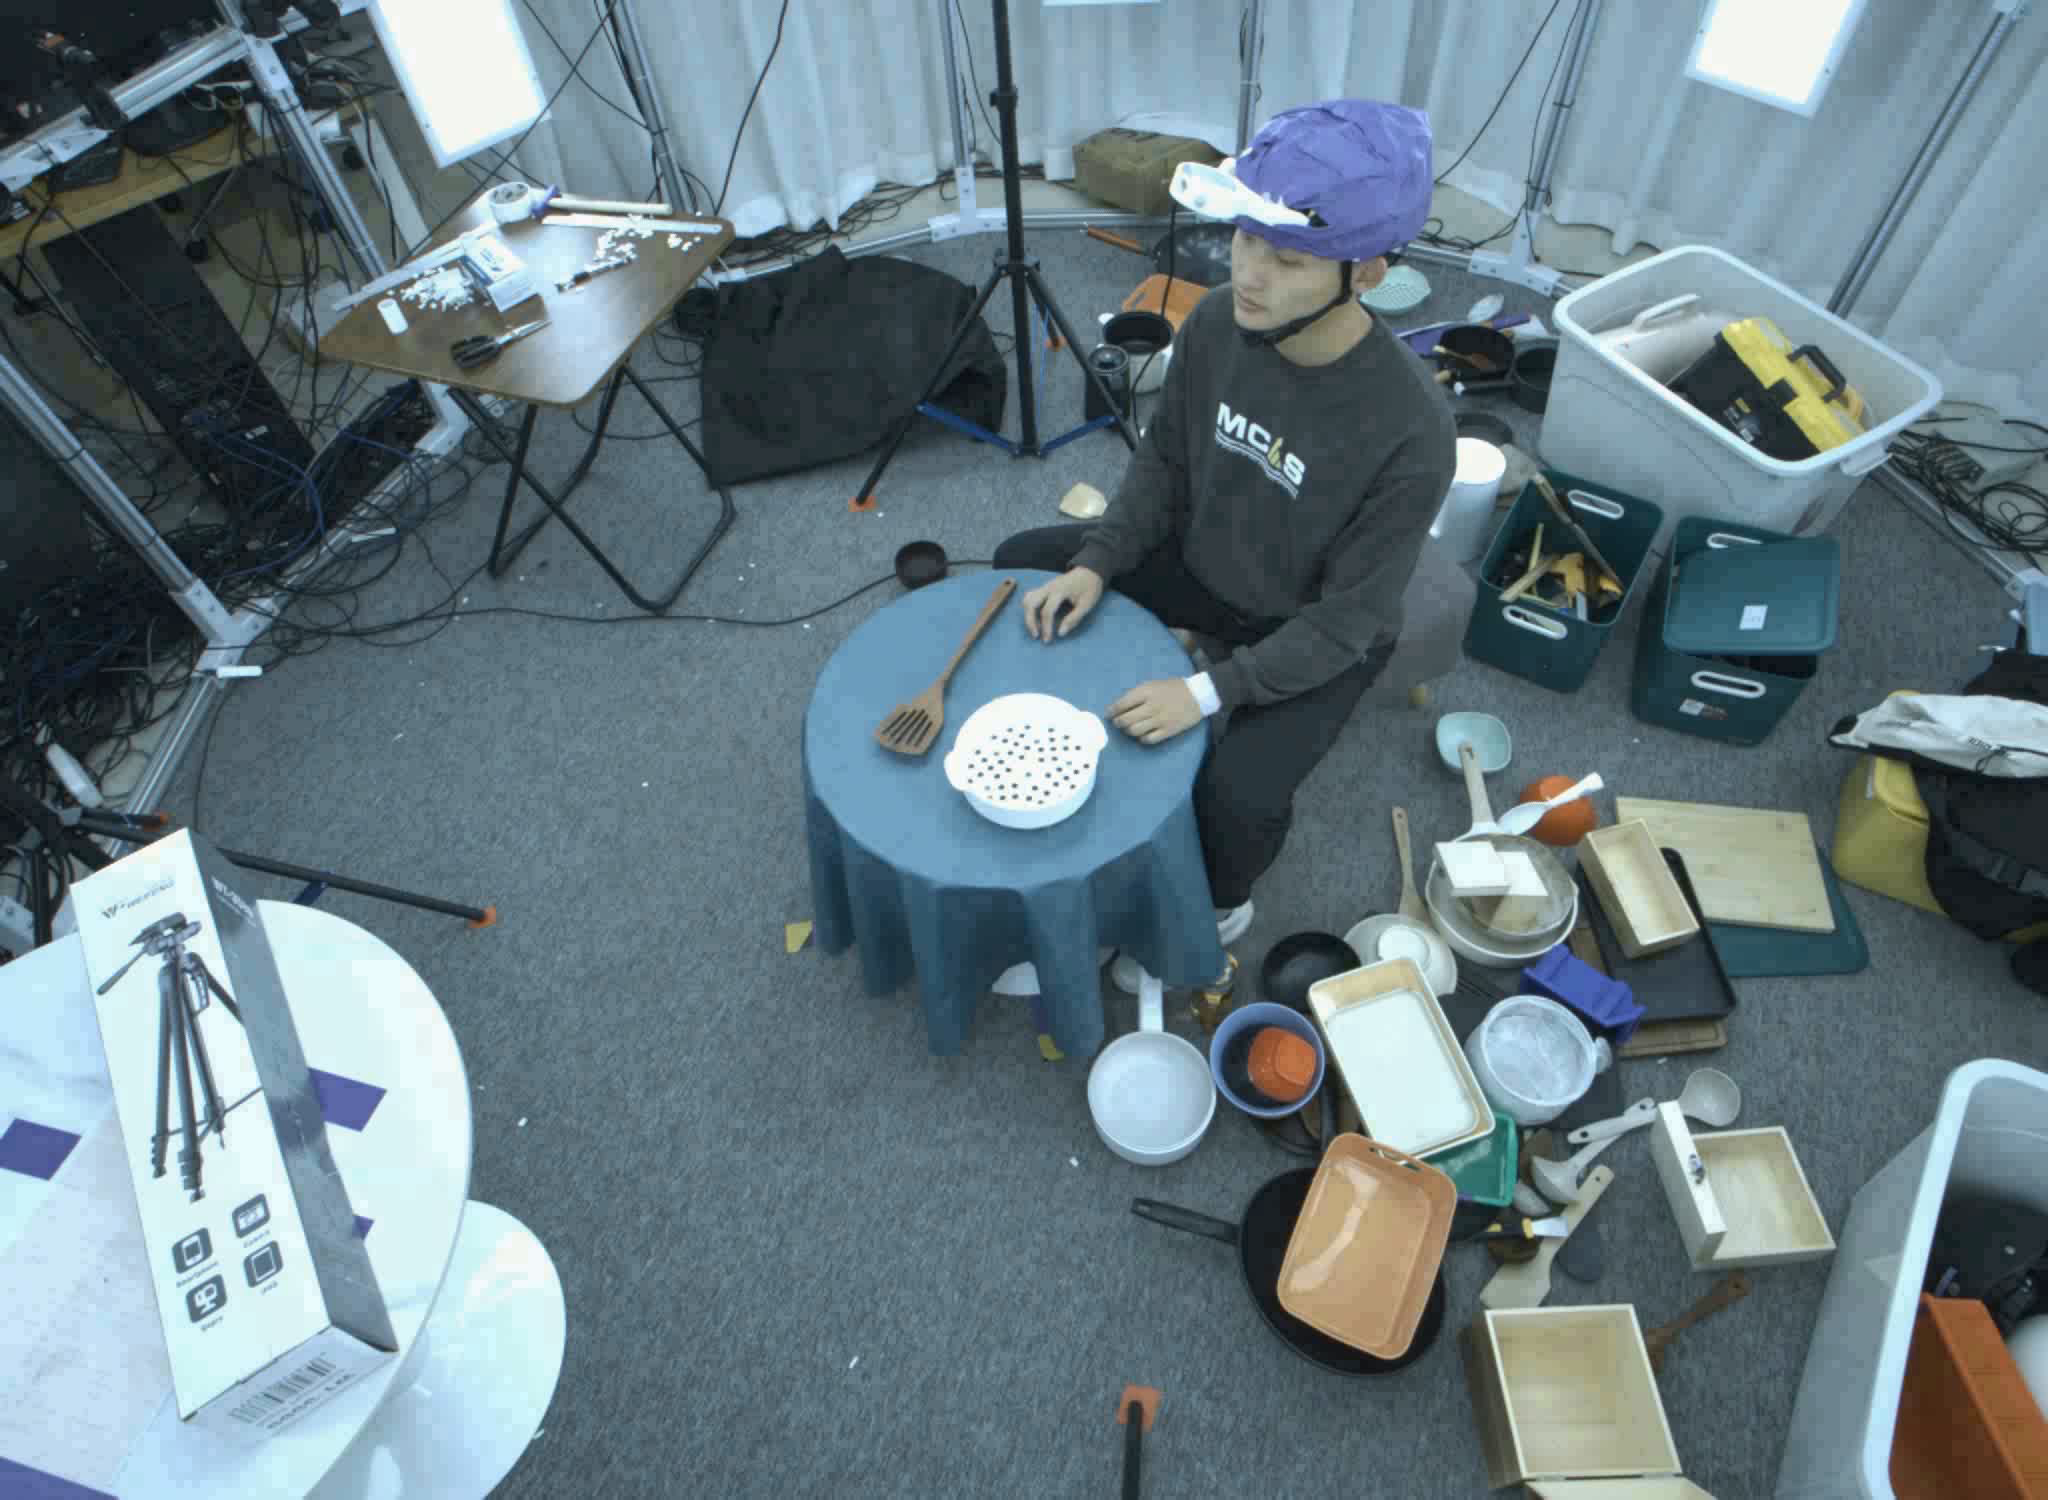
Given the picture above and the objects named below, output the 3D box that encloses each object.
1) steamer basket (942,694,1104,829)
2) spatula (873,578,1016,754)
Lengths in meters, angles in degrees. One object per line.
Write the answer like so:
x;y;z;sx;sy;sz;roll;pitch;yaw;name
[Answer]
-0.001;0.019;1.743;0.232;0.070;0.198;-15;58;-13;steamer basket
-0.105;-0.137;1.883;0.085;0.024;0.386;22;57;14;spatula
